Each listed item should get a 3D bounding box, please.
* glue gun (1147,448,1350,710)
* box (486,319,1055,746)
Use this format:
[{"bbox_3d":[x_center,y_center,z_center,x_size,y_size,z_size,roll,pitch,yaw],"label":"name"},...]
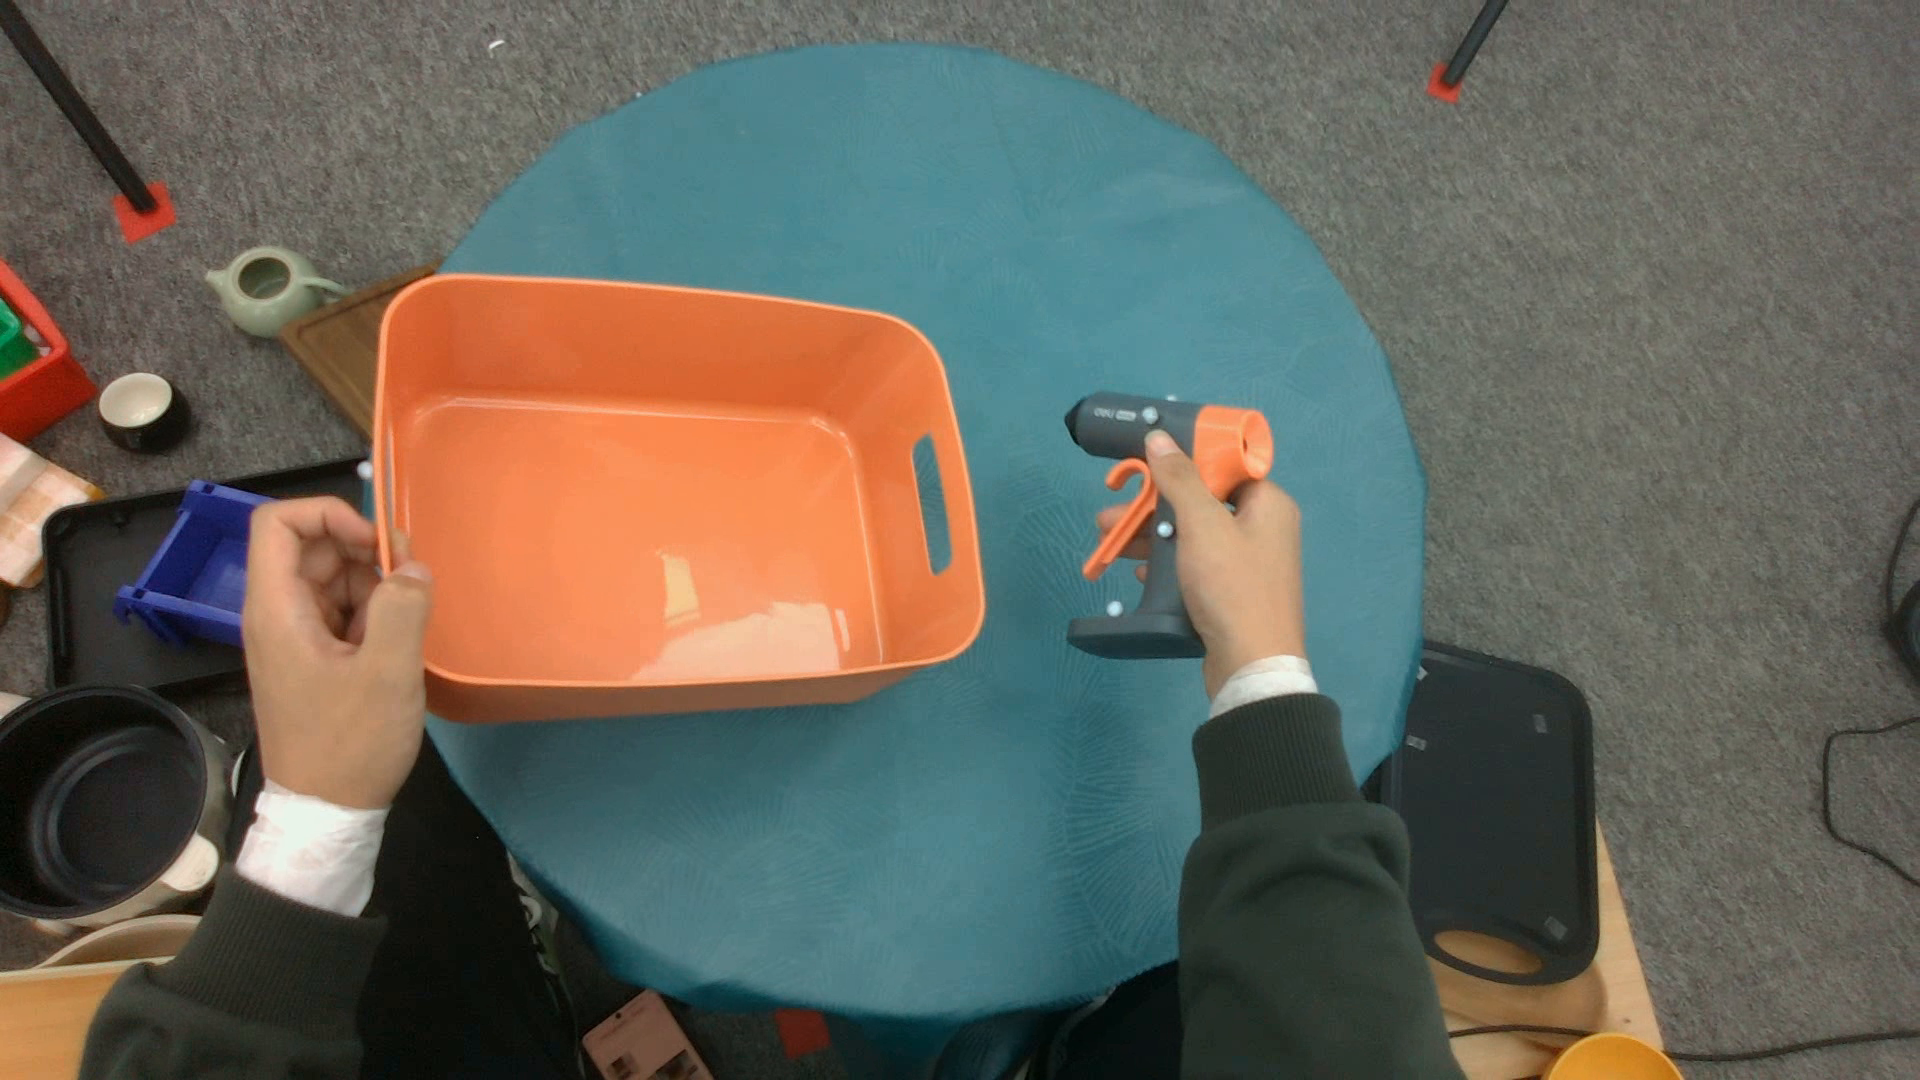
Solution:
[{"bbox_3d":[0.133,0.012,0.692,0.041,0.117,0.140,29,64,-36],"label":"glue gun"},{"bbox_3d":[-0.099,0.007,0.692,0.274,0.102,0.200,2,66,-24],"label":"box"}]
